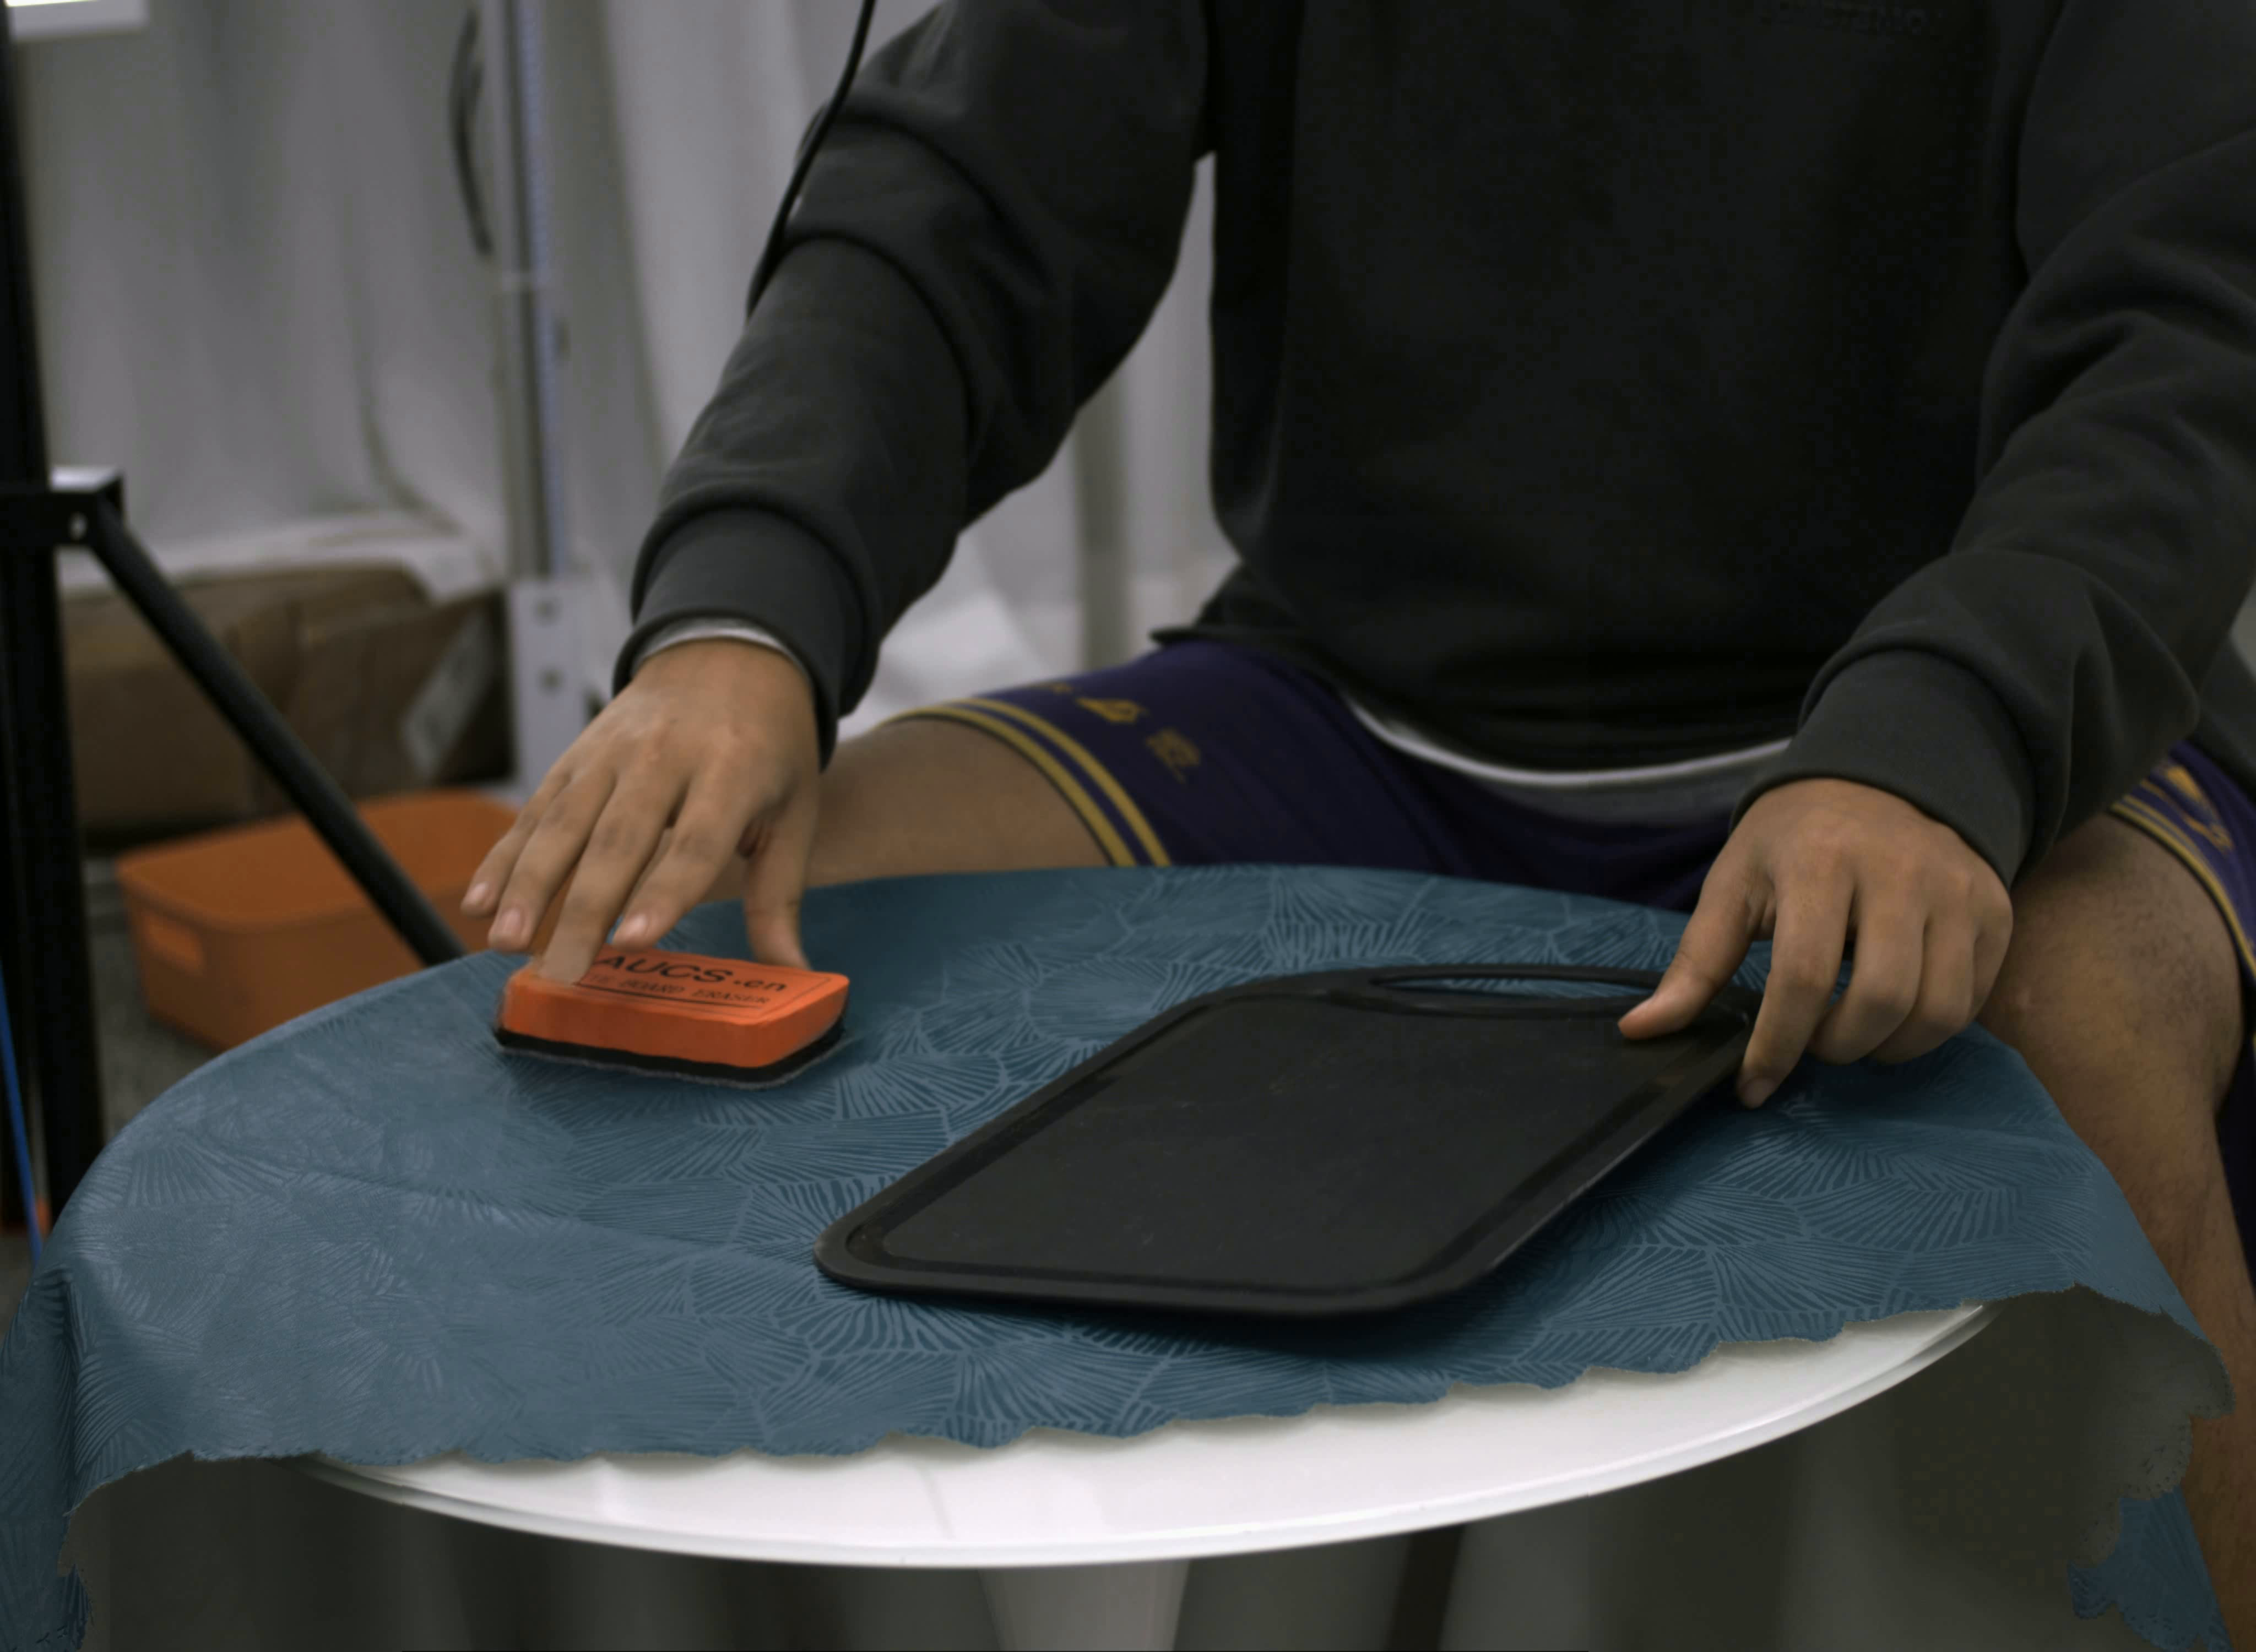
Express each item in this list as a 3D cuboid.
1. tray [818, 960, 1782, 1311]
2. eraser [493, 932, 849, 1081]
[{"bbox_3d":[0.060,0.085,1.586,0.215,0.010,0.320,1,15,29],"label":"tray"},{"bbox_3d":[-0.146,0.057,1.710,0.110,0.023,0.058,8,19,29],"label":"eraser"}]
